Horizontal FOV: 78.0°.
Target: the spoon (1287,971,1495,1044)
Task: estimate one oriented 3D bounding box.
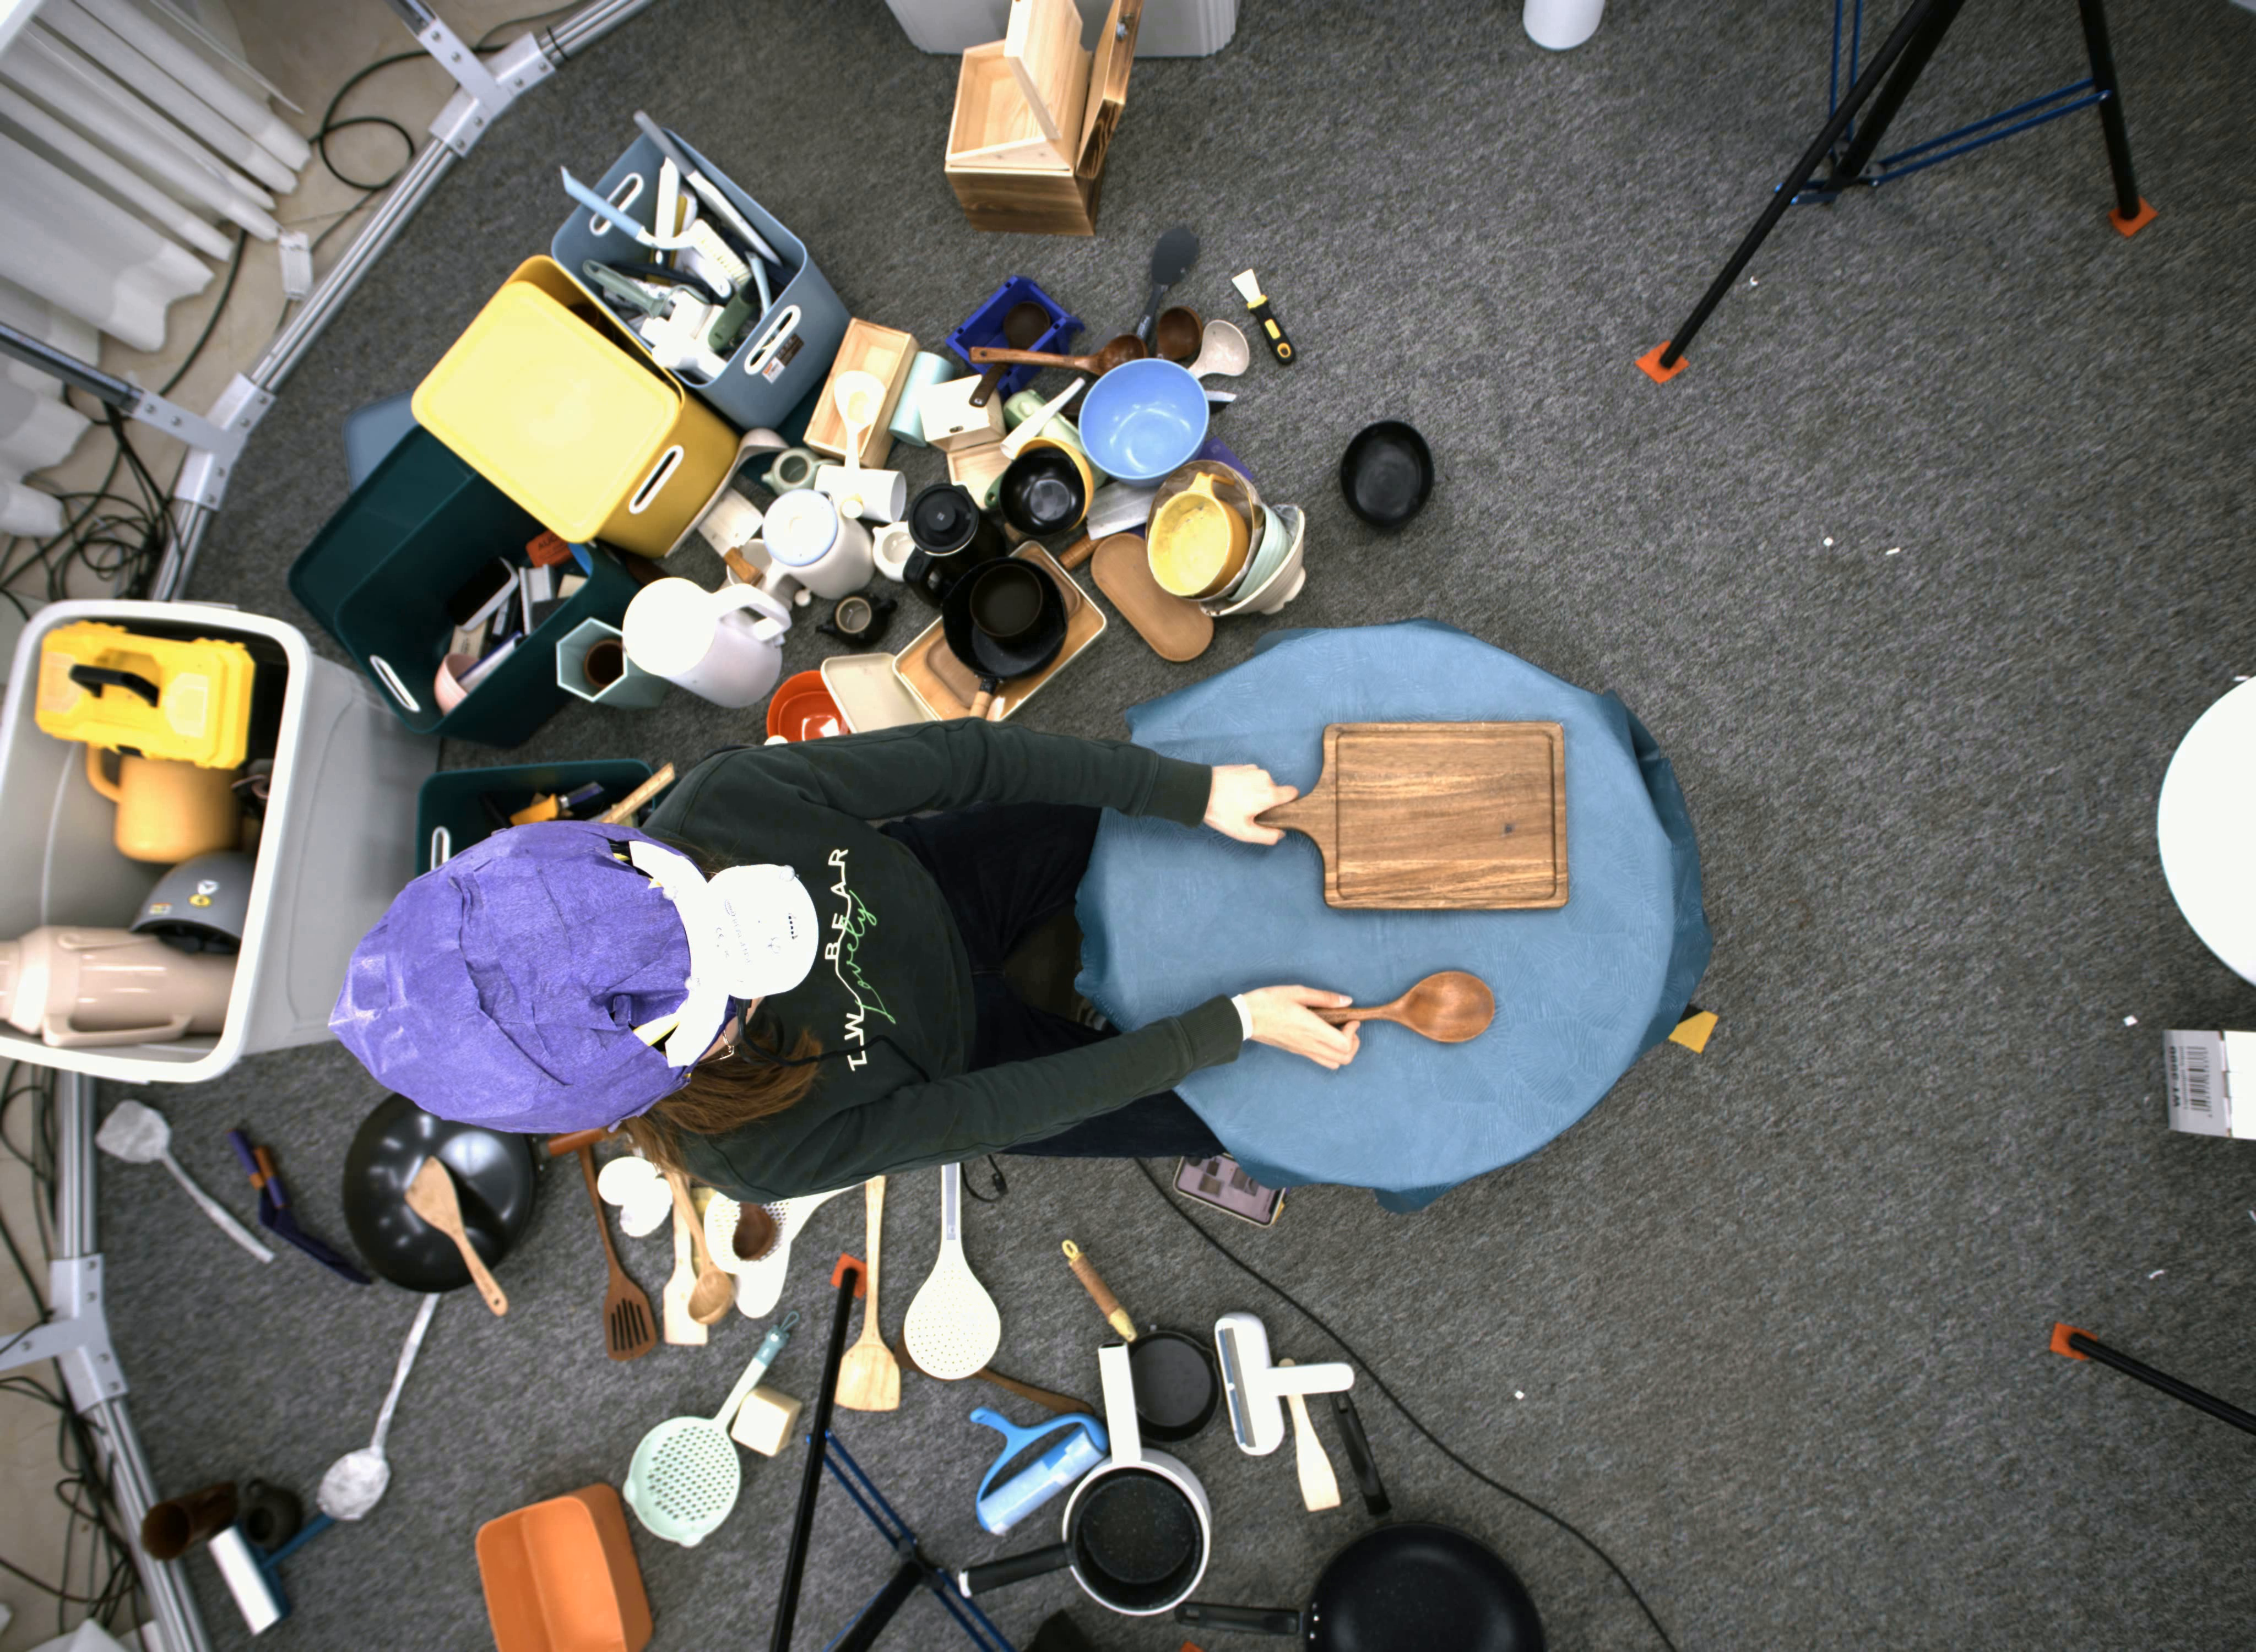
[{"bbox_3d":[0.273,0.193,1.440,0.216,0.017,0.075,-5,87,4],"label":"spoon"}]

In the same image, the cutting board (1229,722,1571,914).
[{"bbox_3d":[0.282,-0.010,1.444,0.353,0.023,0.200,-1,87,5],"label":"cutting board"}]
